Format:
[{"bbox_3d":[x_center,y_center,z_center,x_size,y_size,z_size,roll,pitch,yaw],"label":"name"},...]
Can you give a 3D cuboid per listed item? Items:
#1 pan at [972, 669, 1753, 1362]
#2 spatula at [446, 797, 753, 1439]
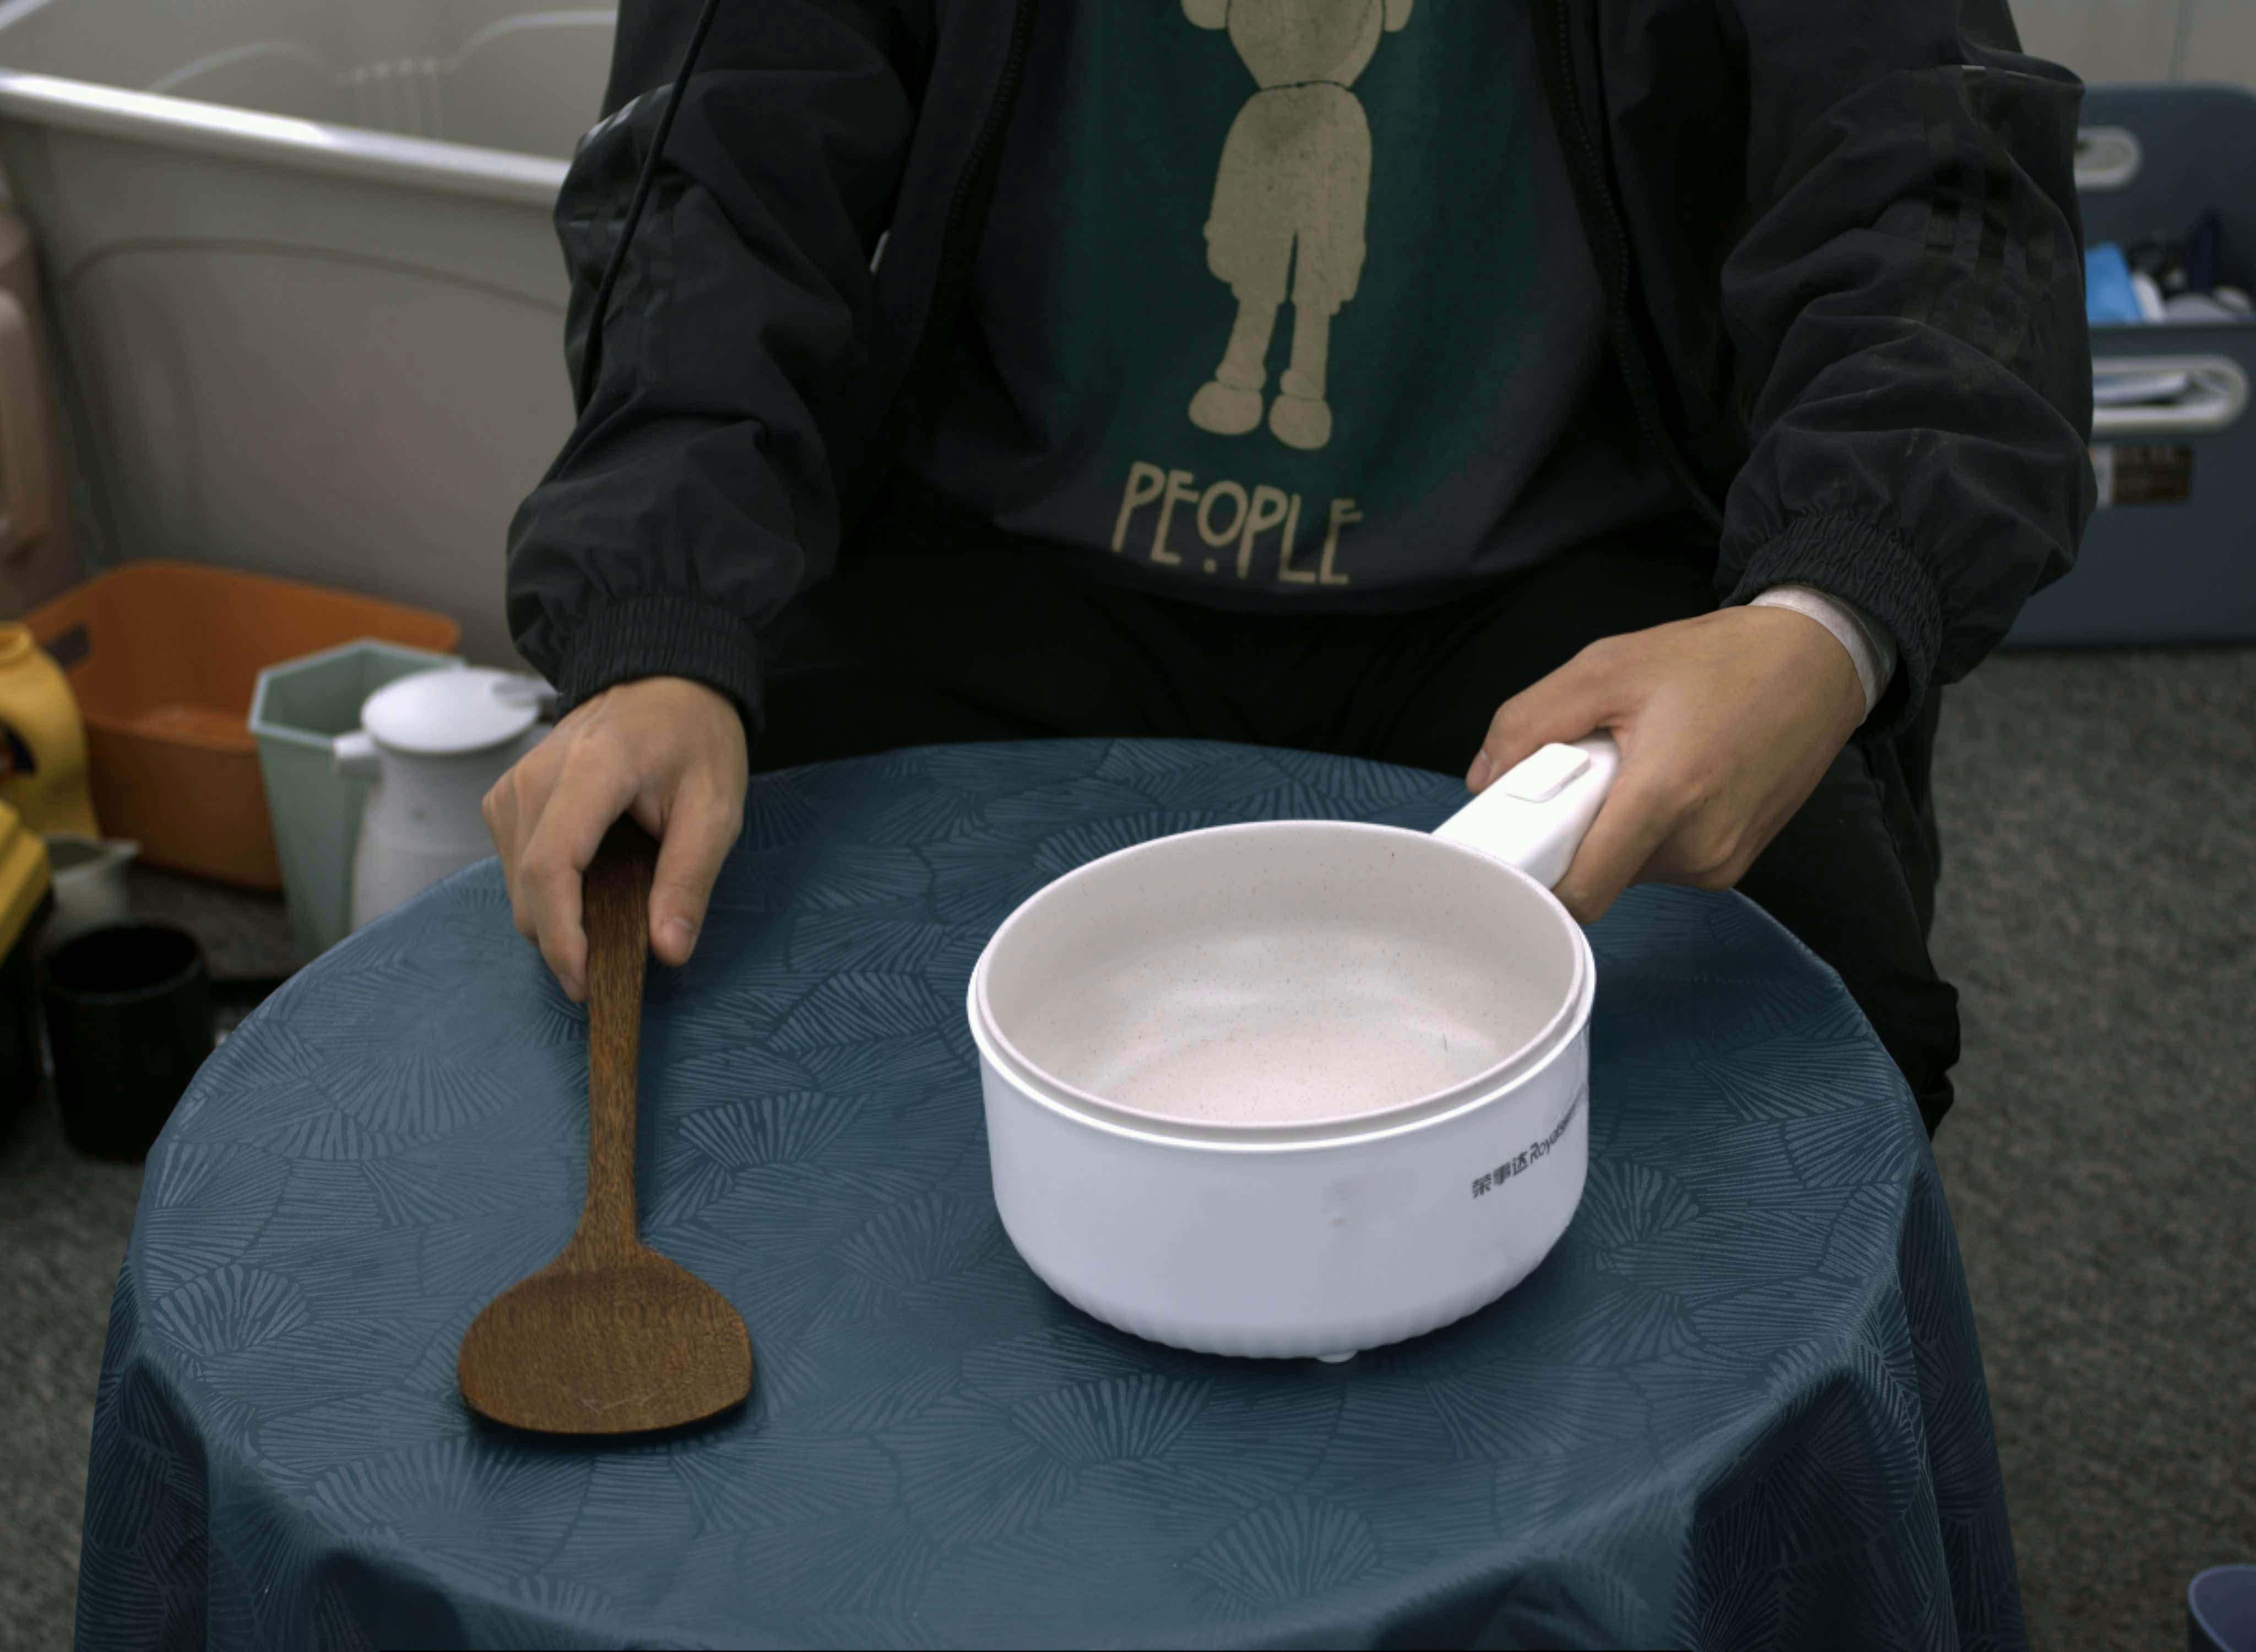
[{"bbox_3d":[0.098,0.058,1.863,0.200,0.101,0.360,15,32,33],"label":"pan"},{"bbox_3d":[-0.175,0.089,1.897,0.096,0.015,0.392,1,31,-4],"label":"spatula"}]
